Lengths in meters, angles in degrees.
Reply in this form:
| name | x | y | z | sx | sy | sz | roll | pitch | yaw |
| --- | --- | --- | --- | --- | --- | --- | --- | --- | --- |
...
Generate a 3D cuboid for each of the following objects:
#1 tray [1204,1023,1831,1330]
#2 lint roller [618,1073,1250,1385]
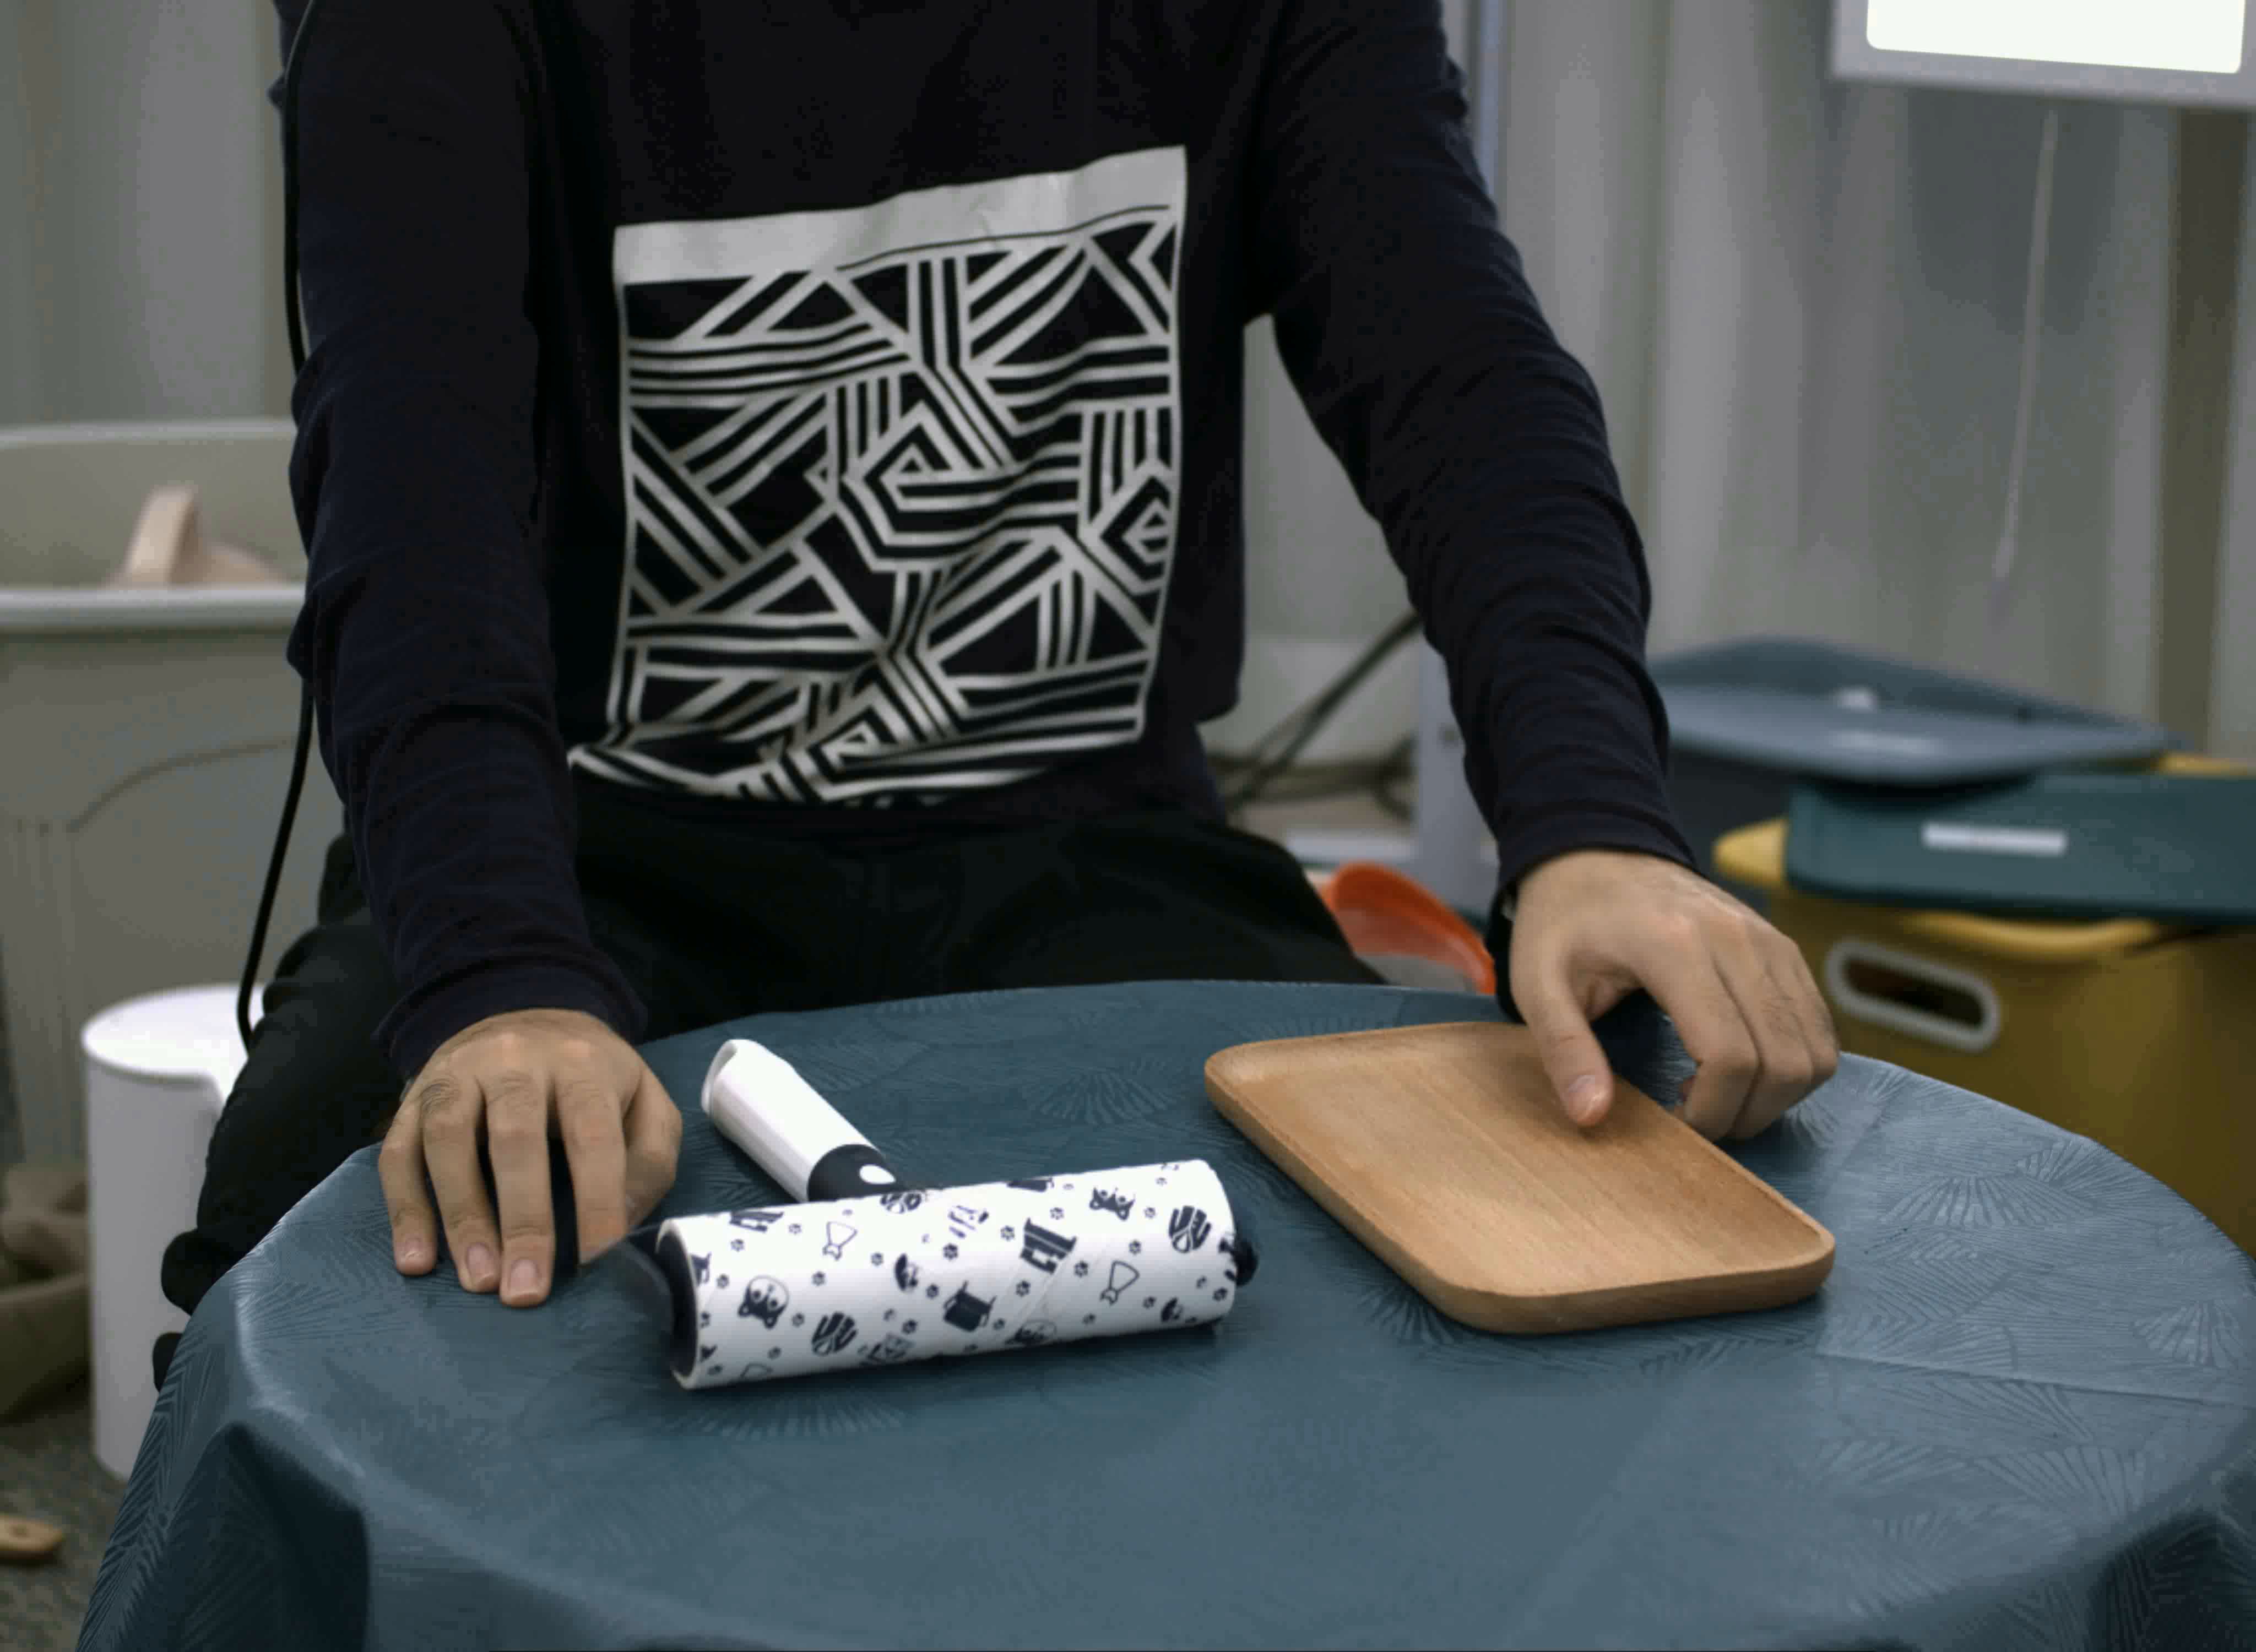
| name | x | y | z | sx | sy | sz | roll | pitch | yaw |
| --- | --- | --- | --- | --- | --- | --- | --- | --- | --- |
| tray | 0.115 | 0.105 | 1.626 | 0.131 | 0.023 | 0.248 | -1 | 14 | -17 |
| lint roller | -0.088 | 0.105 | 1.575 | 0.177 | 0.051 | 0.244 | -6 | 14 | -20 |
